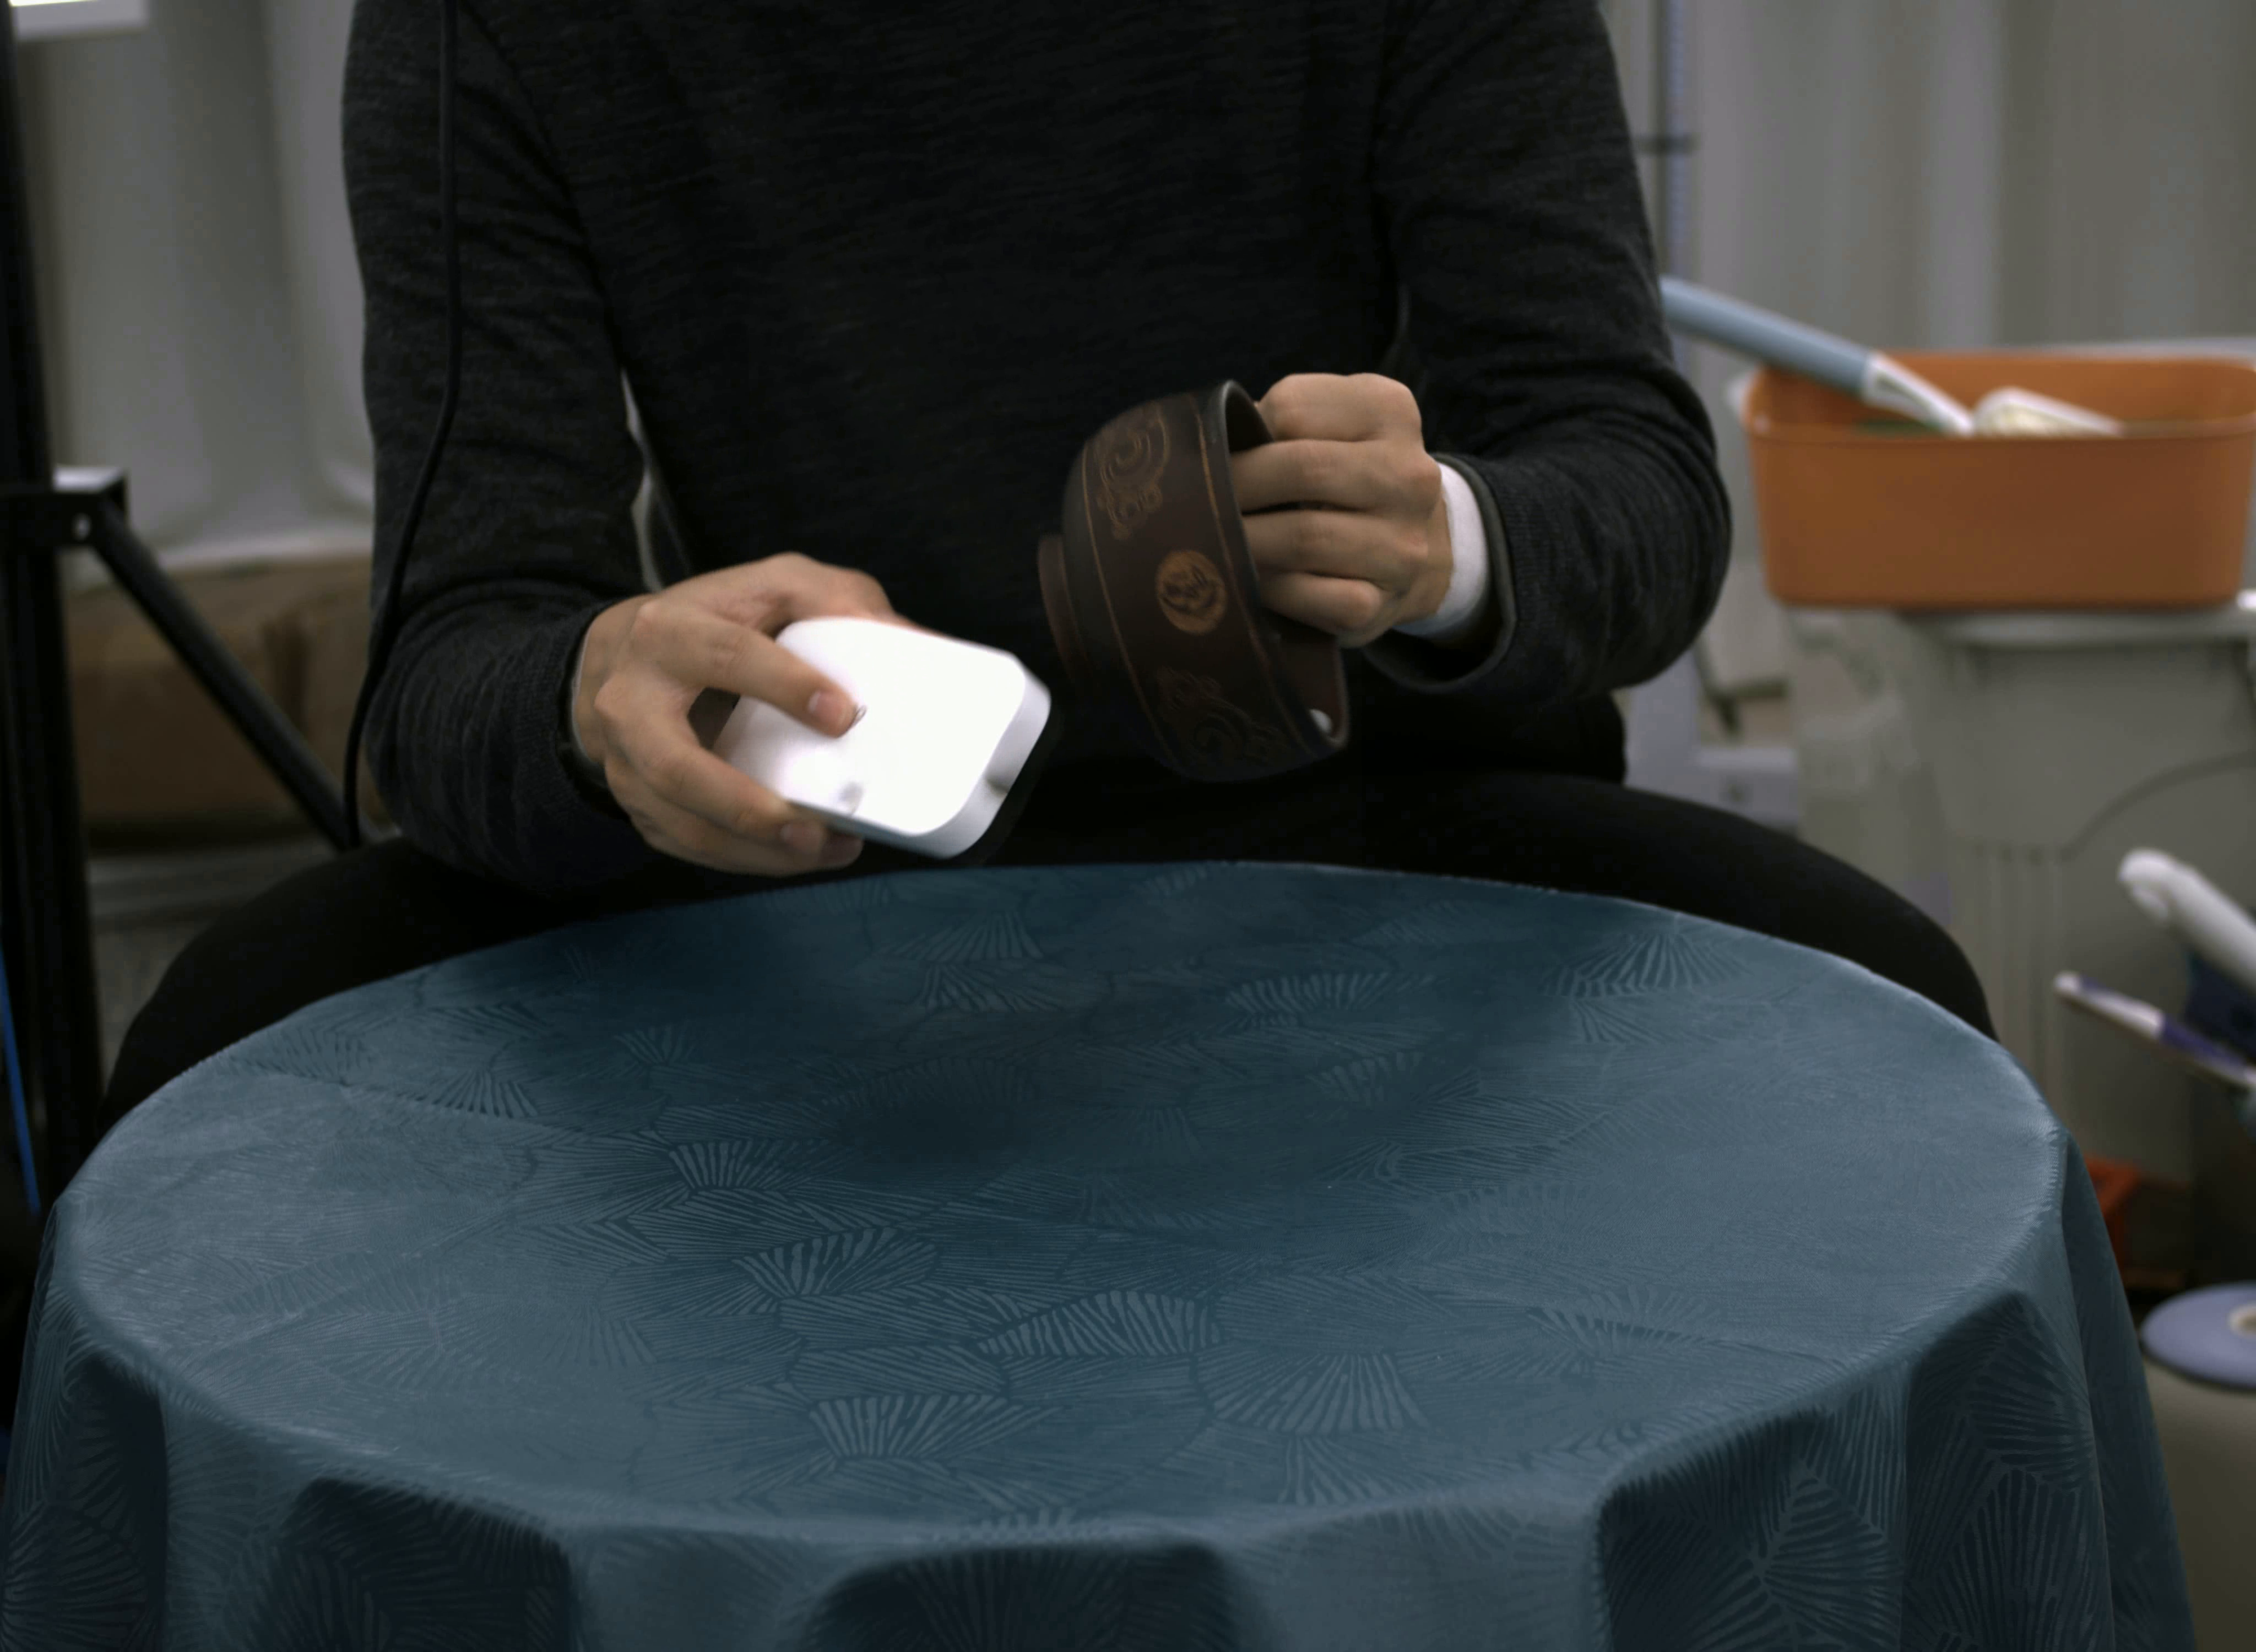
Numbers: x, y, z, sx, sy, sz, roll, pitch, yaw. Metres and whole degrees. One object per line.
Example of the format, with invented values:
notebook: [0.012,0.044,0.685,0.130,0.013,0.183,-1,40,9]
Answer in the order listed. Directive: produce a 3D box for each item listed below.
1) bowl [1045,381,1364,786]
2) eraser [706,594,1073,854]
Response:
bowl: [0.018,-0.066,1.581,0.070,0.117,0.118,-21,13,10]
eraser: [-0.072,-0.031,1.574,0.034,0.063,0.134,37,-14,-37]
